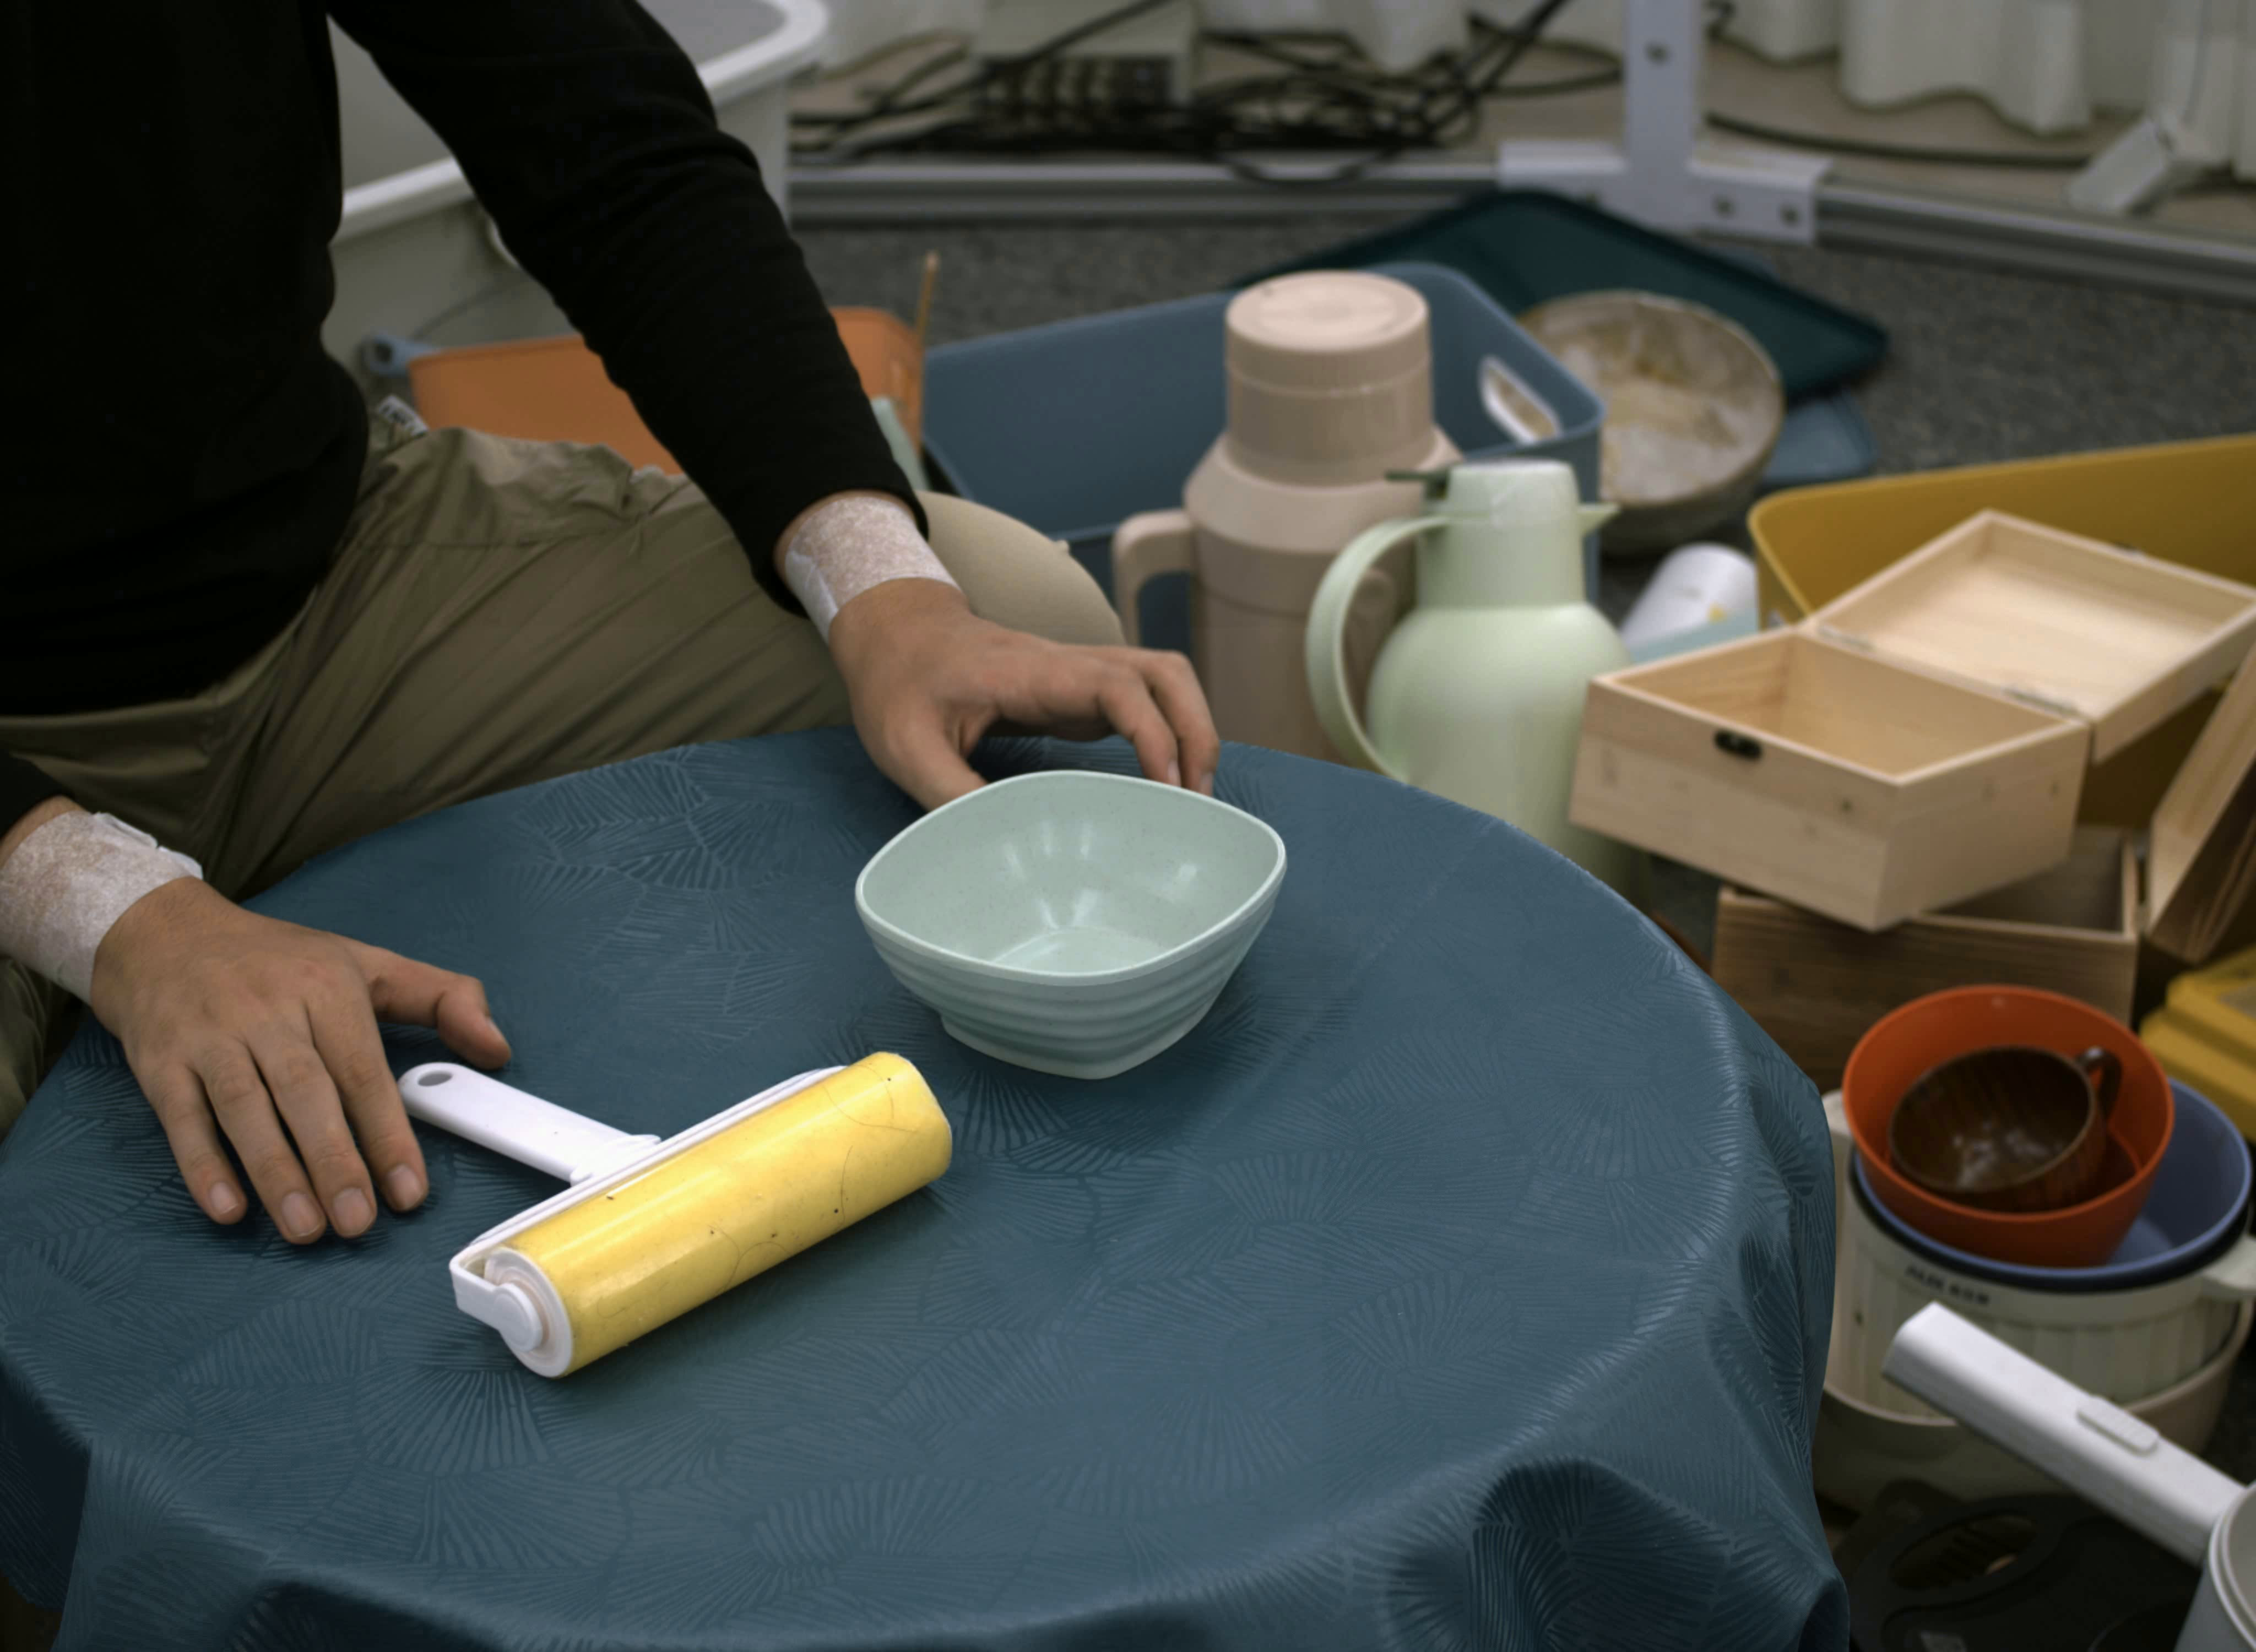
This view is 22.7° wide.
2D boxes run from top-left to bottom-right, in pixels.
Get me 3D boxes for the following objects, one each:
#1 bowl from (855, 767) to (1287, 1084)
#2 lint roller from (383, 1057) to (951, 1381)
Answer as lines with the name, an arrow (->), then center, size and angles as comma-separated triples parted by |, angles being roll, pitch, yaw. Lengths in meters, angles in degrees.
bowl -> -0.019, 0.040, 1.959 | 0.151, 0.058, 0.154 | -1, 29, 1
lint roller -> -0.182, 0.102, 1.860 | 0.192, 0.051, 0.176 | 27, 39, 37
